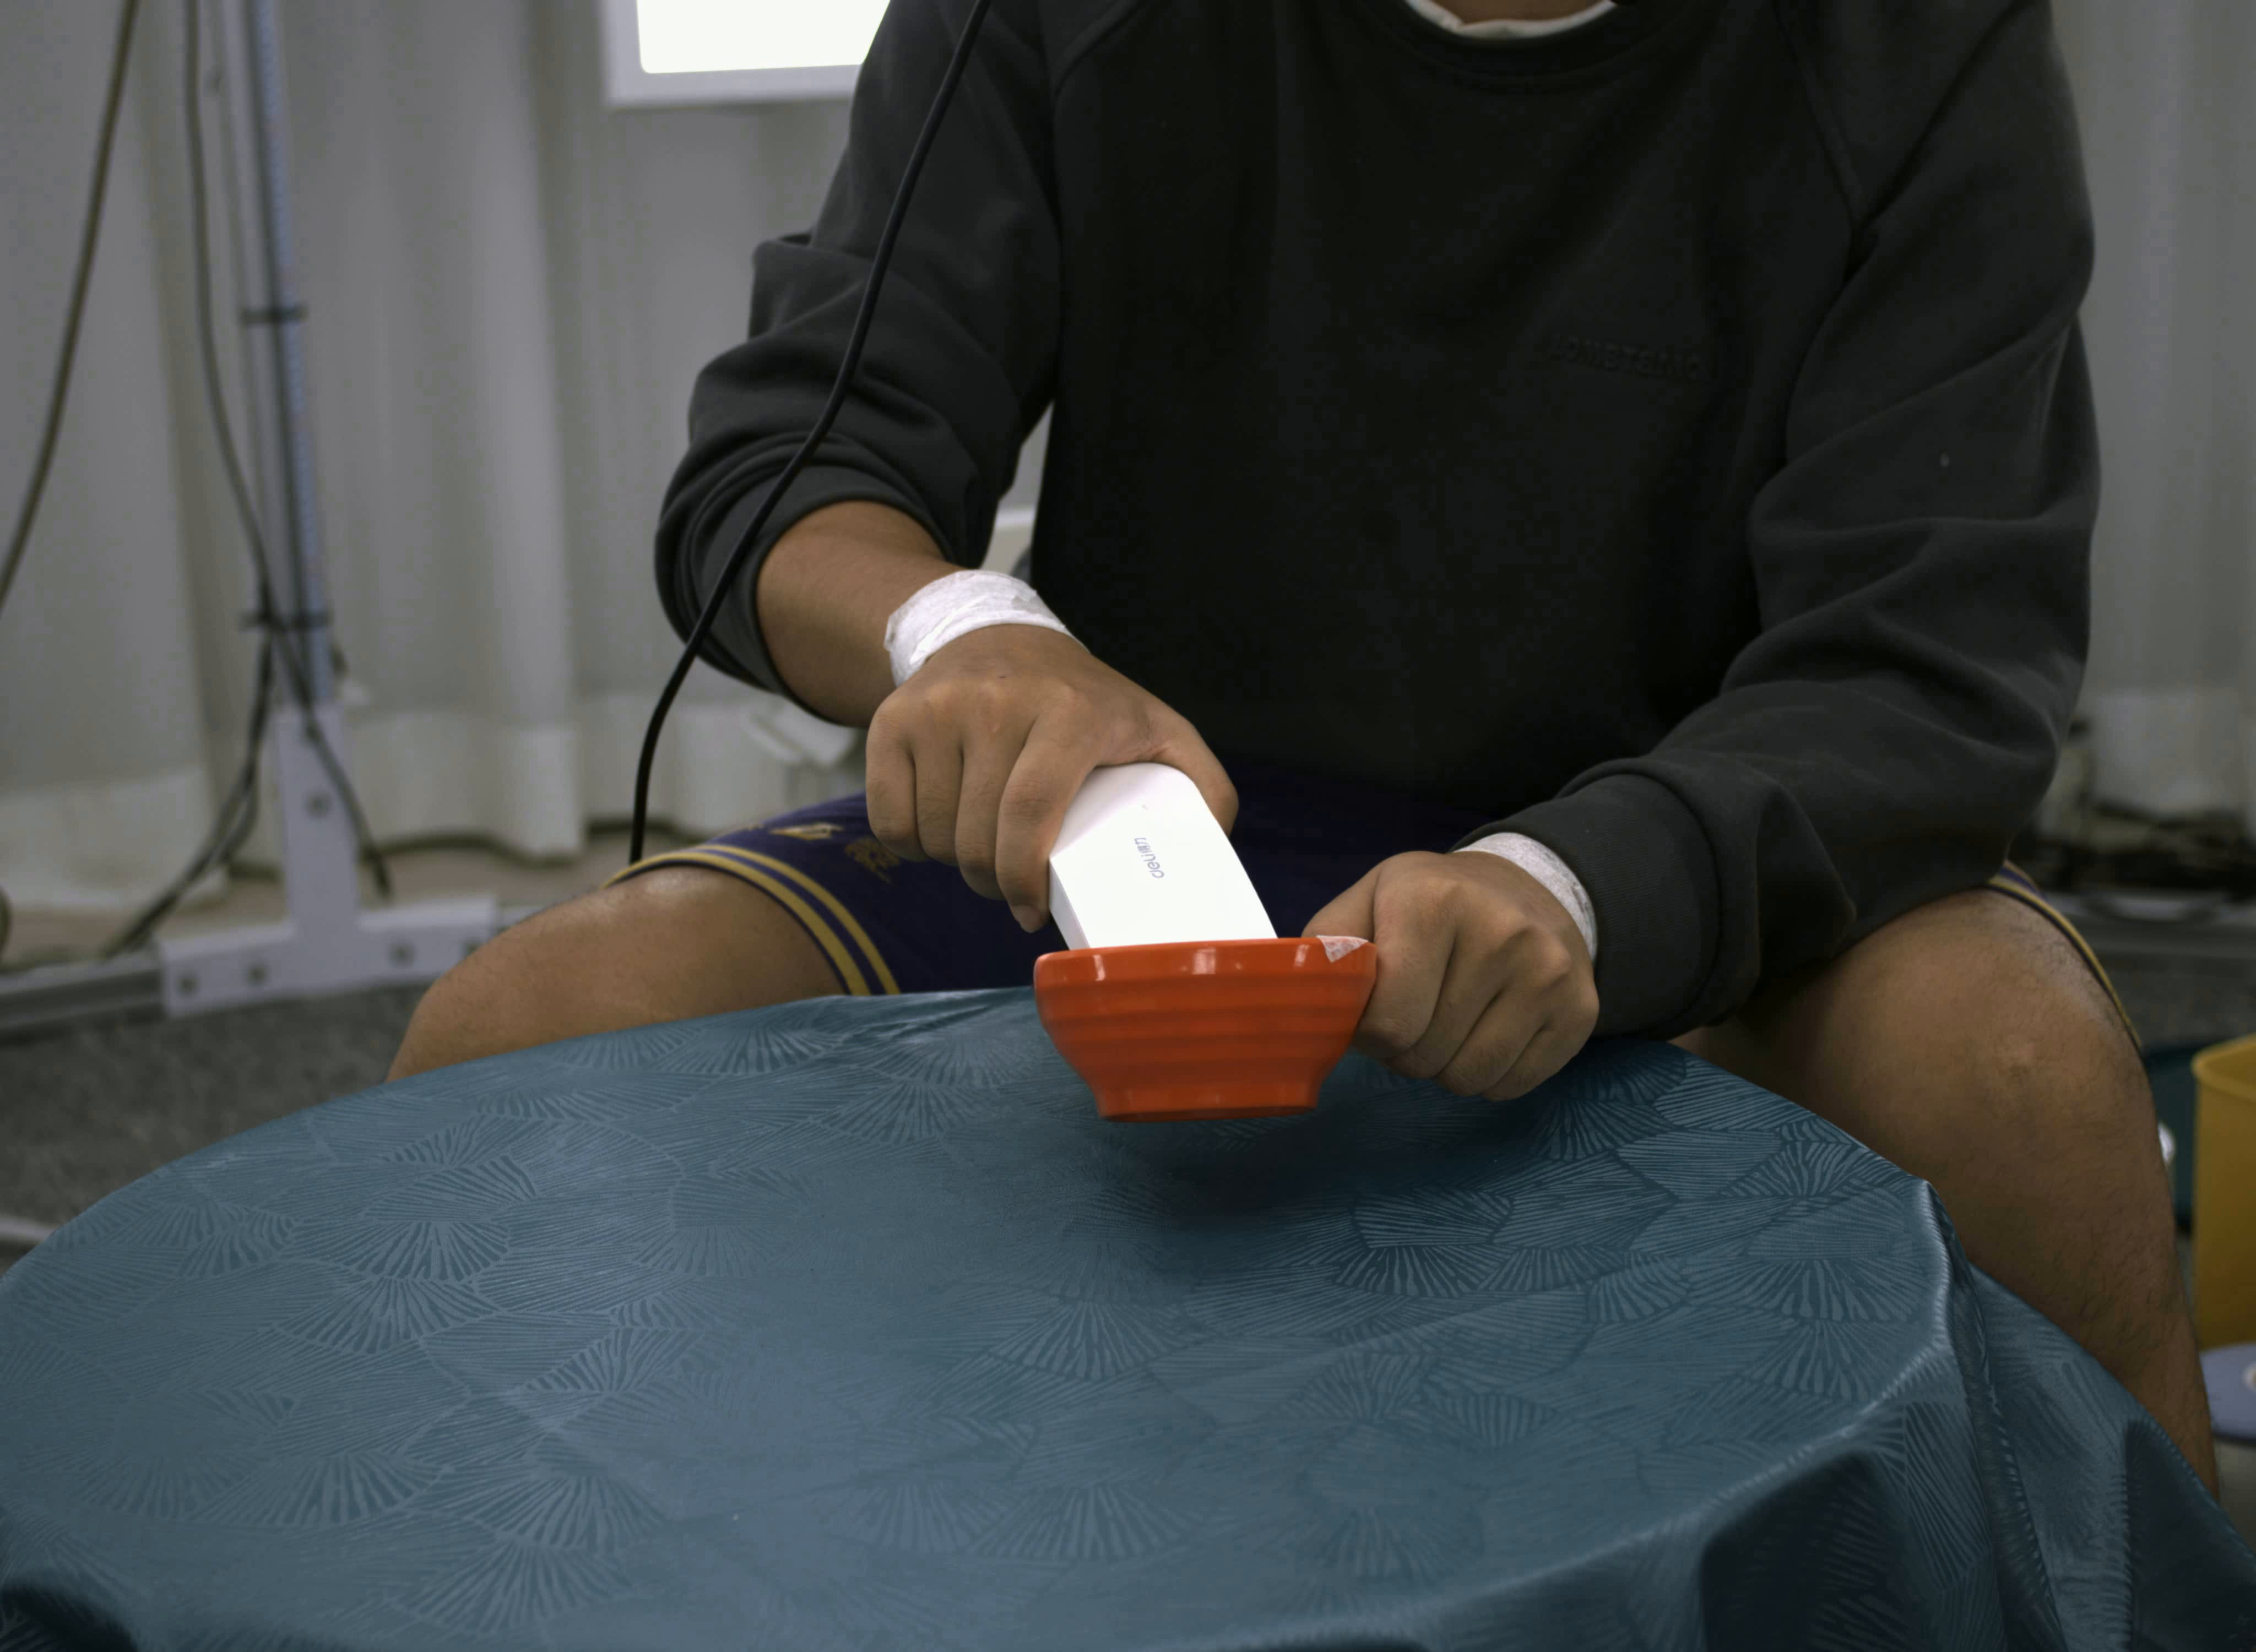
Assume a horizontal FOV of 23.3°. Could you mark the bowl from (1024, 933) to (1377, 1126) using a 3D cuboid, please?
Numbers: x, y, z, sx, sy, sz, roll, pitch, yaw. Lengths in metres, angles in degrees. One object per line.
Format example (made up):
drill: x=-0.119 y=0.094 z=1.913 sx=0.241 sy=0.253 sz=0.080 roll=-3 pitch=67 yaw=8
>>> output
bowl: x=0.024 y=0.065 z=1.693 sx=0.118 sy=0.052 sz=0.118 roll=-3 pitch=-7 yaw=-1

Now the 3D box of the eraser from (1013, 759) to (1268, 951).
eraser: x=0.006 y=0.022 z=1.752 sx=0.063 sy=0.034 sz=0.133 roll=-4 pitch=36 yaw=-16
